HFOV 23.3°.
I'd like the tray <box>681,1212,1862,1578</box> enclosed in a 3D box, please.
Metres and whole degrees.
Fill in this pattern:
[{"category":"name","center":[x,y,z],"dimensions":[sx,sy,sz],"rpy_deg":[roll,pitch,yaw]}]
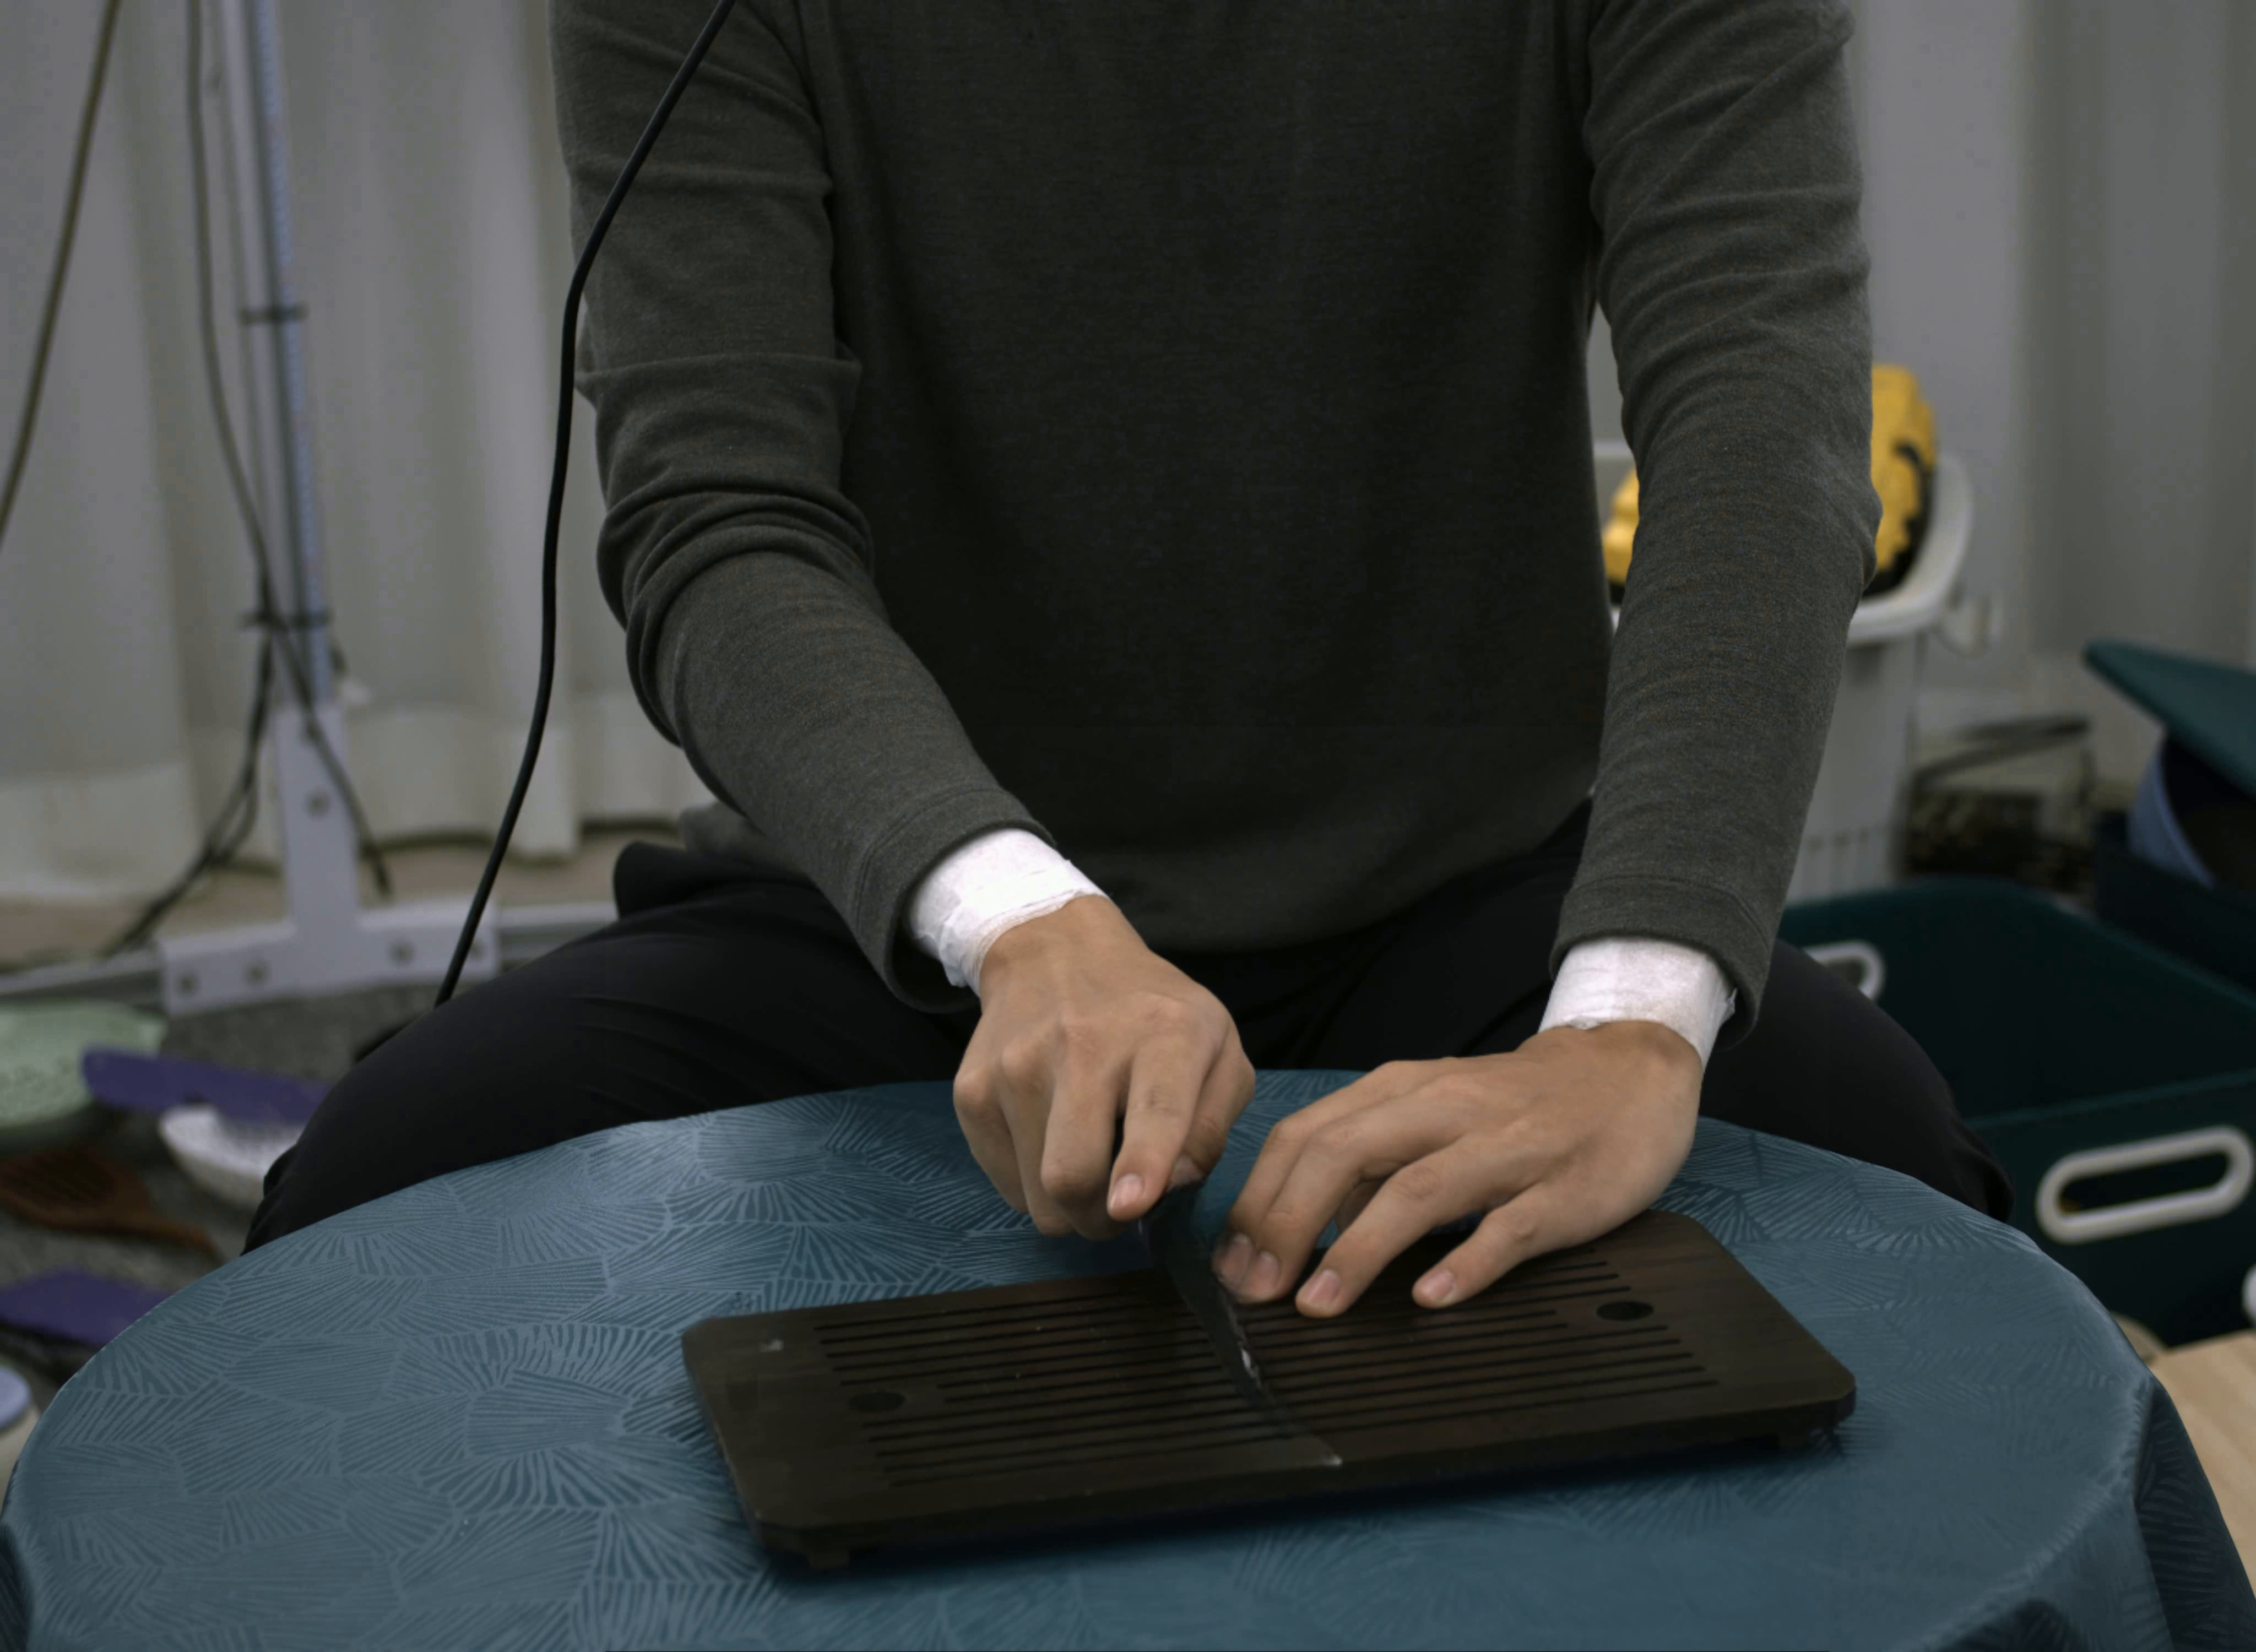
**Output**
[{"category":"tray","center":[0.036,0.156,1.519],"dimensions":[0.304,0.018,0.171],"rpy_deg":[-6,14,-11]}]

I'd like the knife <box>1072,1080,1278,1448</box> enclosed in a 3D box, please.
[{"category":"knife","center":[0.014,0.122,1.558],"dimensions":[0.016,0.024,0.240],"rpy_deg":[-5,20,-11]}]
